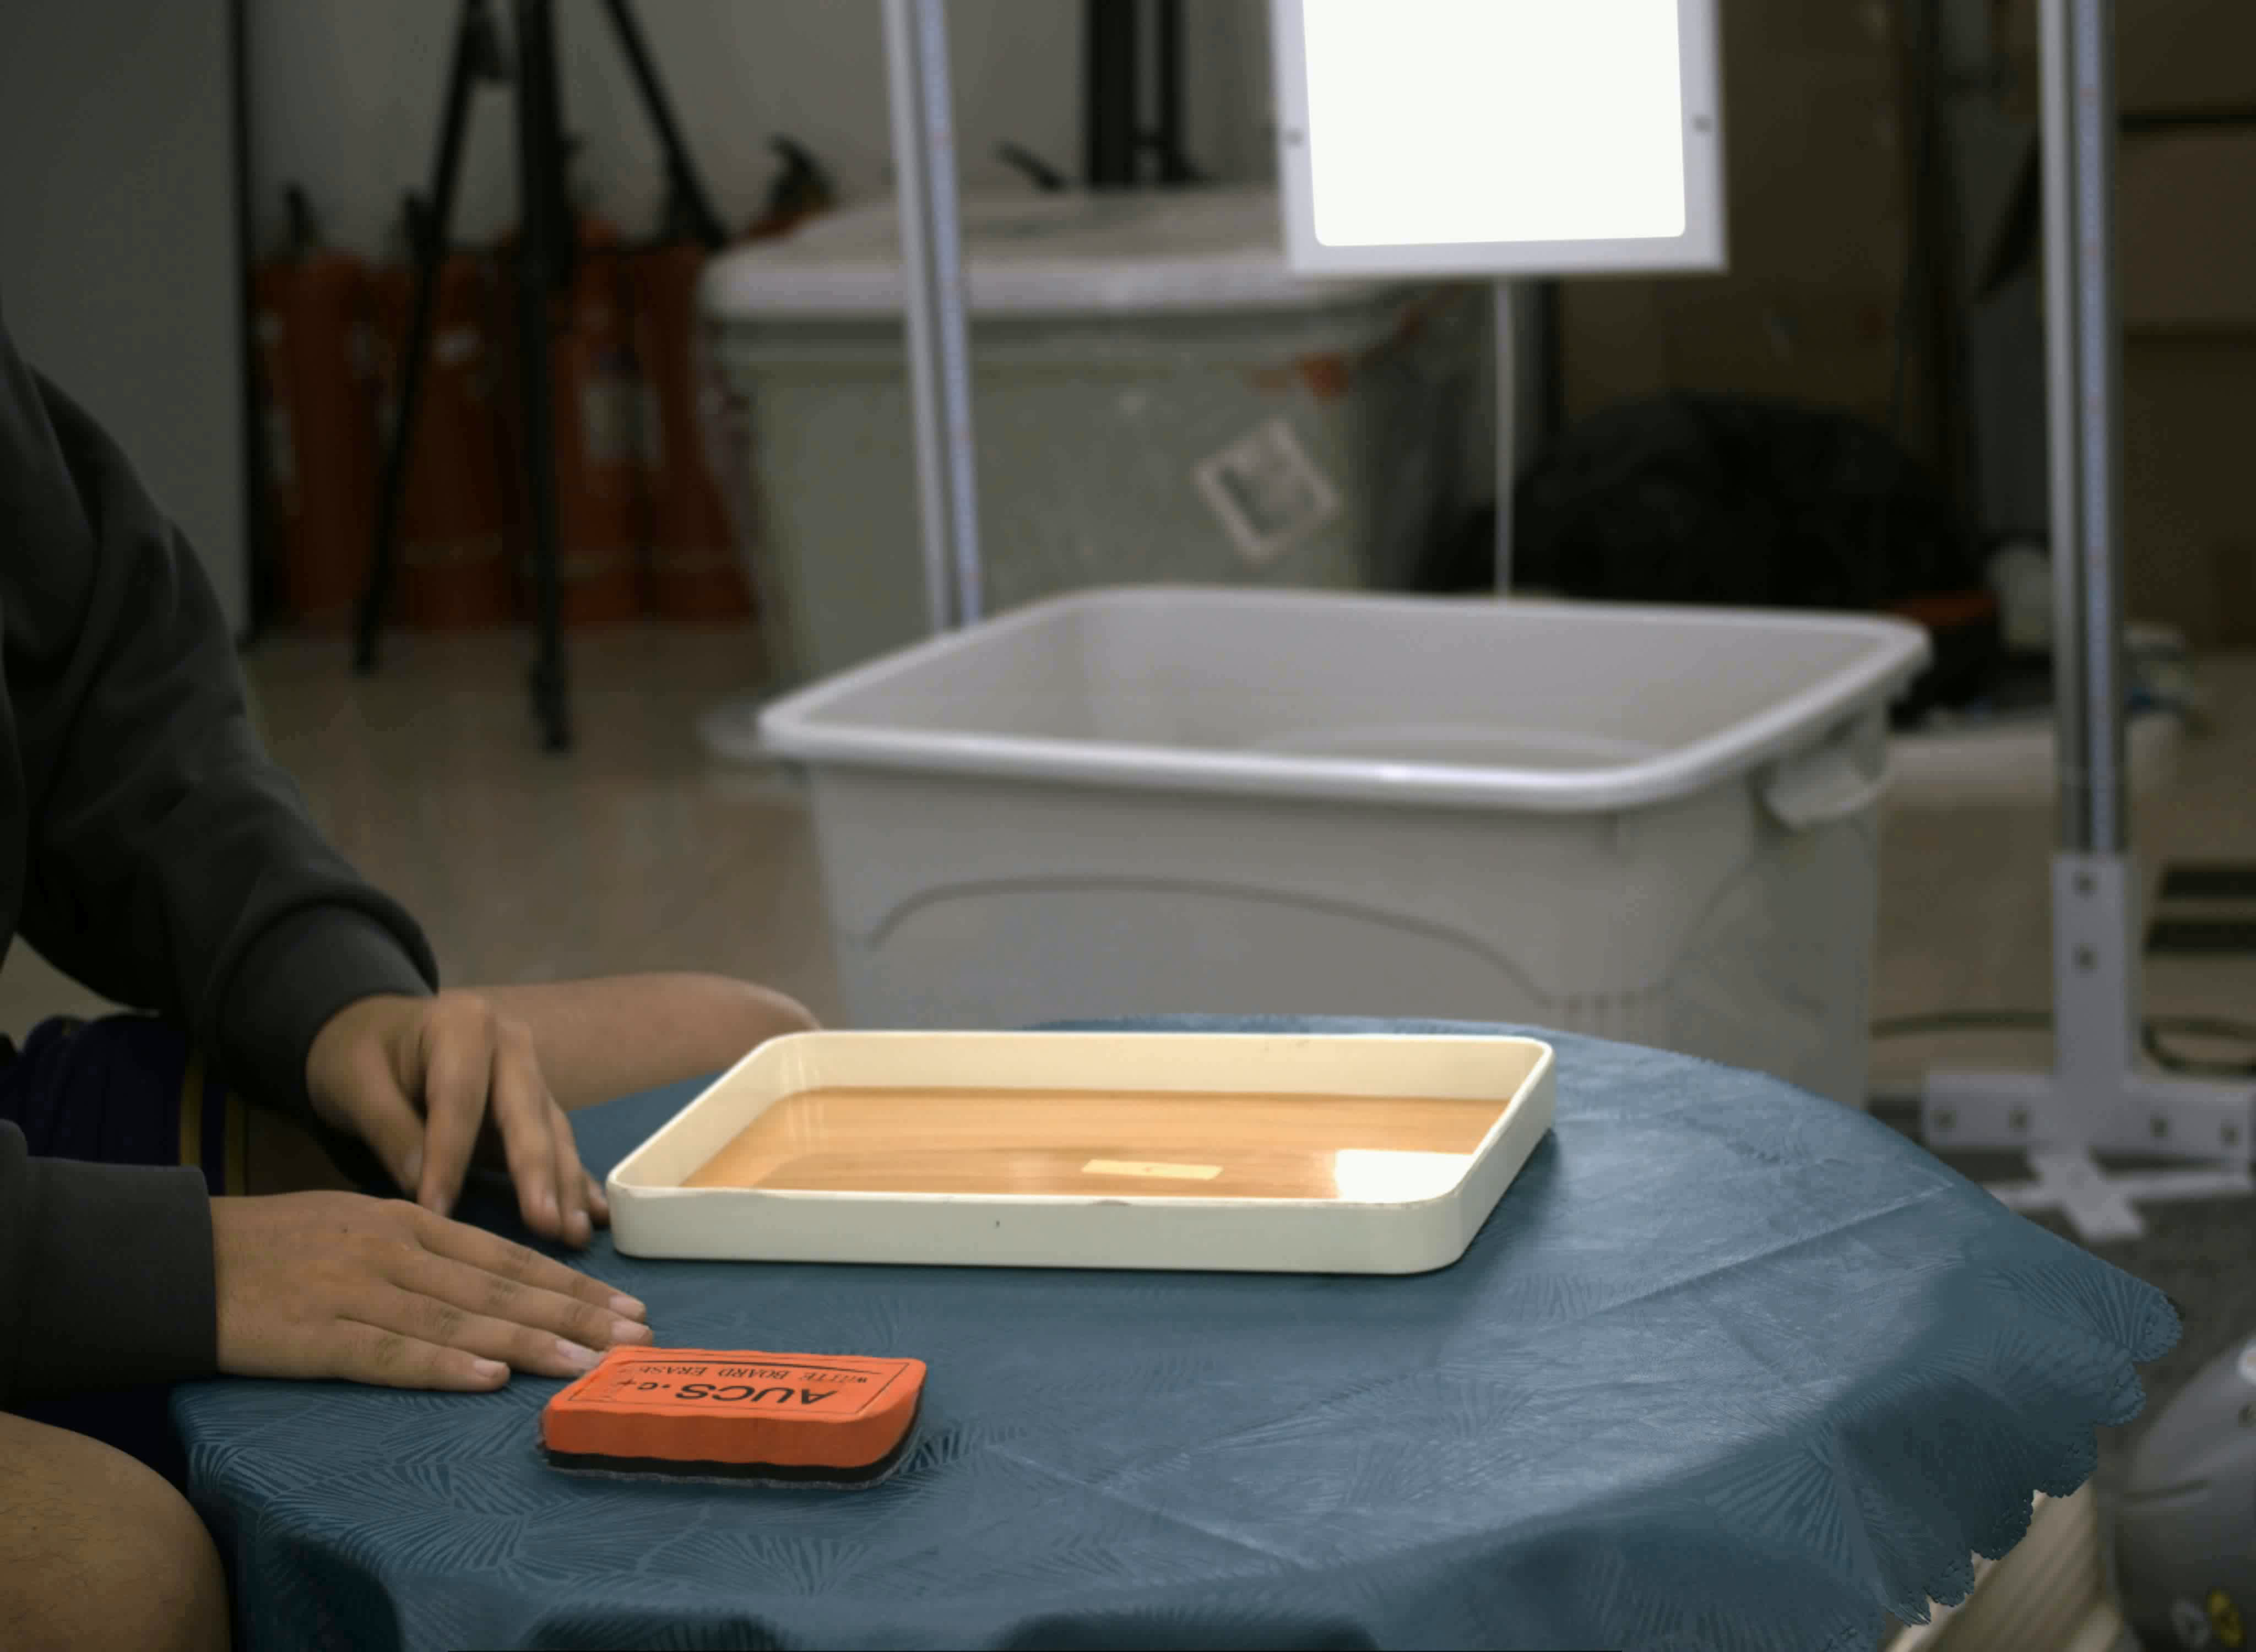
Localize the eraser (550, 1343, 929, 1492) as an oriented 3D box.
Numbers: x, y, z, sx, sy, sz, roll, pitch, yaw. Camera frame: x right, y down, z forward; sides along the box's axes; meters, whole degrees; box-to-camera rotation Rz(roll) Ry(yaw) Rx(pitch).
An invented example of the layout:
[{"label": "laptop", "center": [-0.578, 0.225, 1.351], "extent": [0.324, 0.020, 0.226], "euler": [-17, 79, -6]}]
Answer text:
[{"label": "eraser", "center": [-0.117, 0.179, 1.675], "extent": [0.109, 0.023, 0.058], "euler": [1, 15, 22]}]

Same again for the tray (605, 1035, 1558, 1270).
[{"label": "tray", "center": [-0.013, 0.111, 1.908], "extent": [0.304, 0.027, 0.188], "euler": [0, 14, 19]}]
